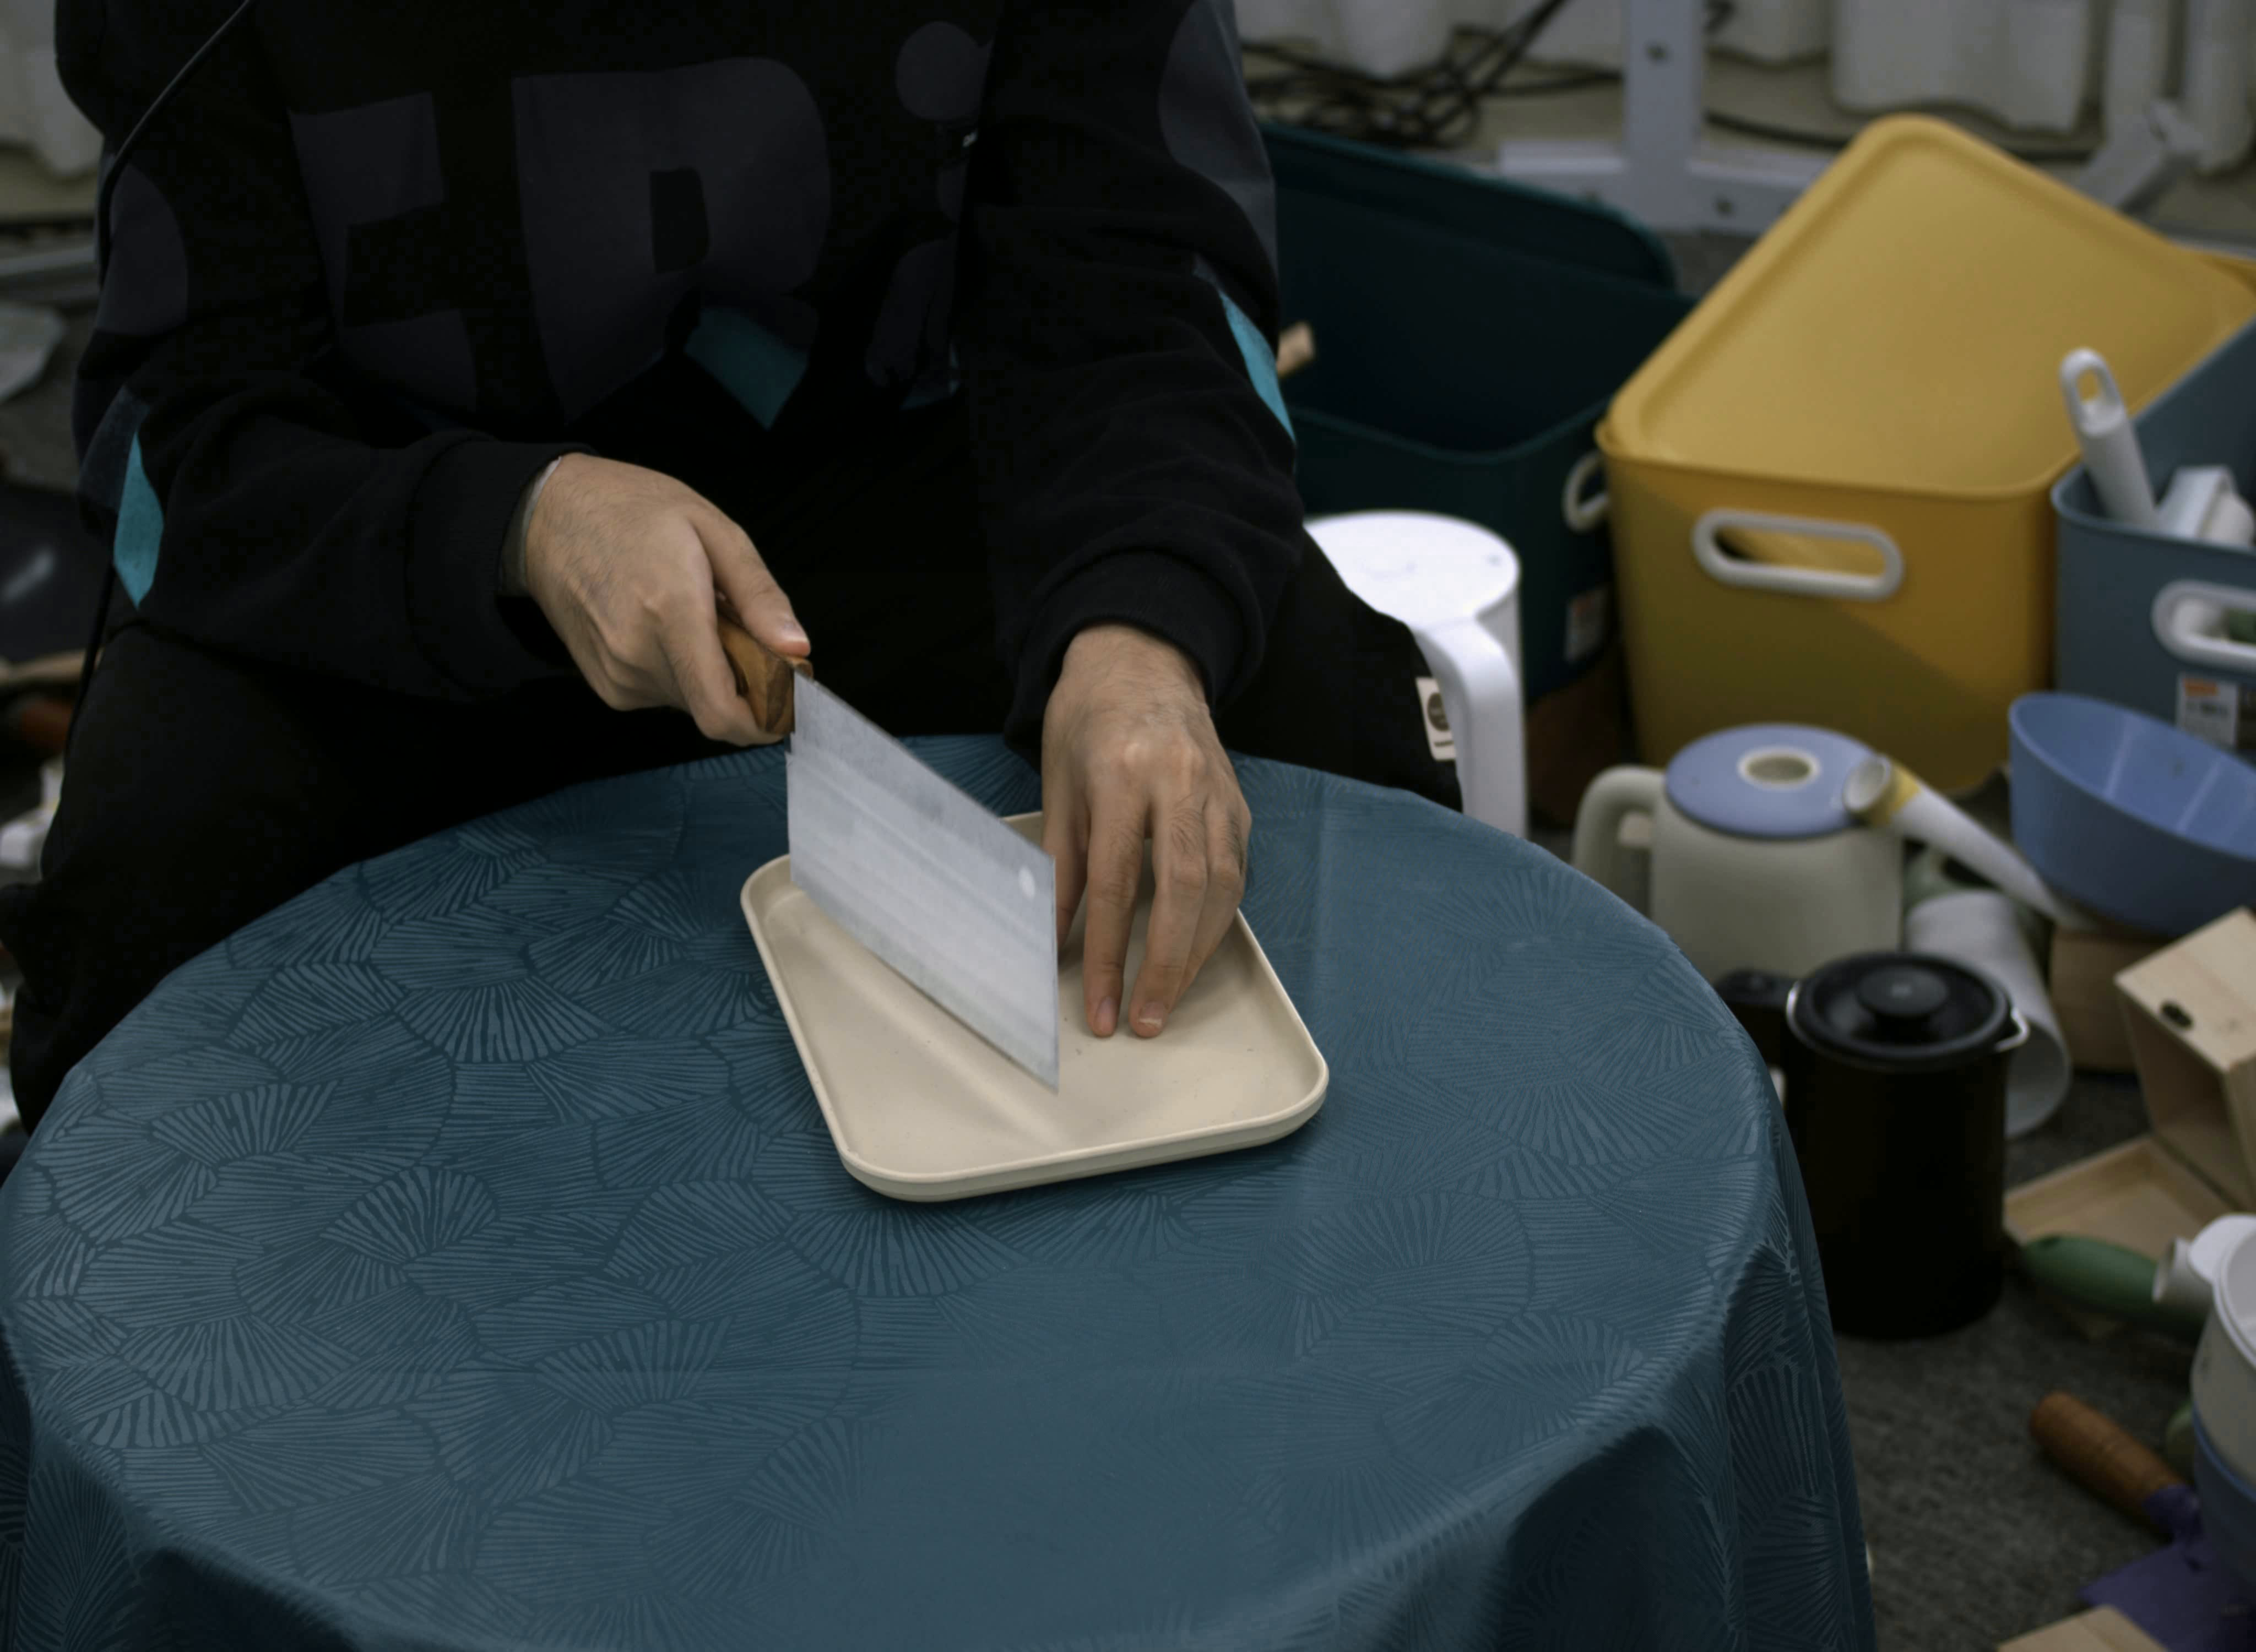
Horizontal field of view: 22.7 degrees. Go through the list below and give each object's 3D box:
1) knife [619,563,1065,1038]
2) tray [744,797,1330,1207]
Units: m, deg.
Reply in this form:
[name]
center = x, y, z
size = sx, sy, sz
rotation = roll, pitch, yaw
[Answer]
[knife]
center = -0.102, -0.008, 1.971
size = 0.021, 0.092, 0.307
rotation = -14, 28, -28
[tray]
center = -0.035, 0.060, 1.962
size = 0.171, 0.017, 0.242
rotation = -10, 29, -10
